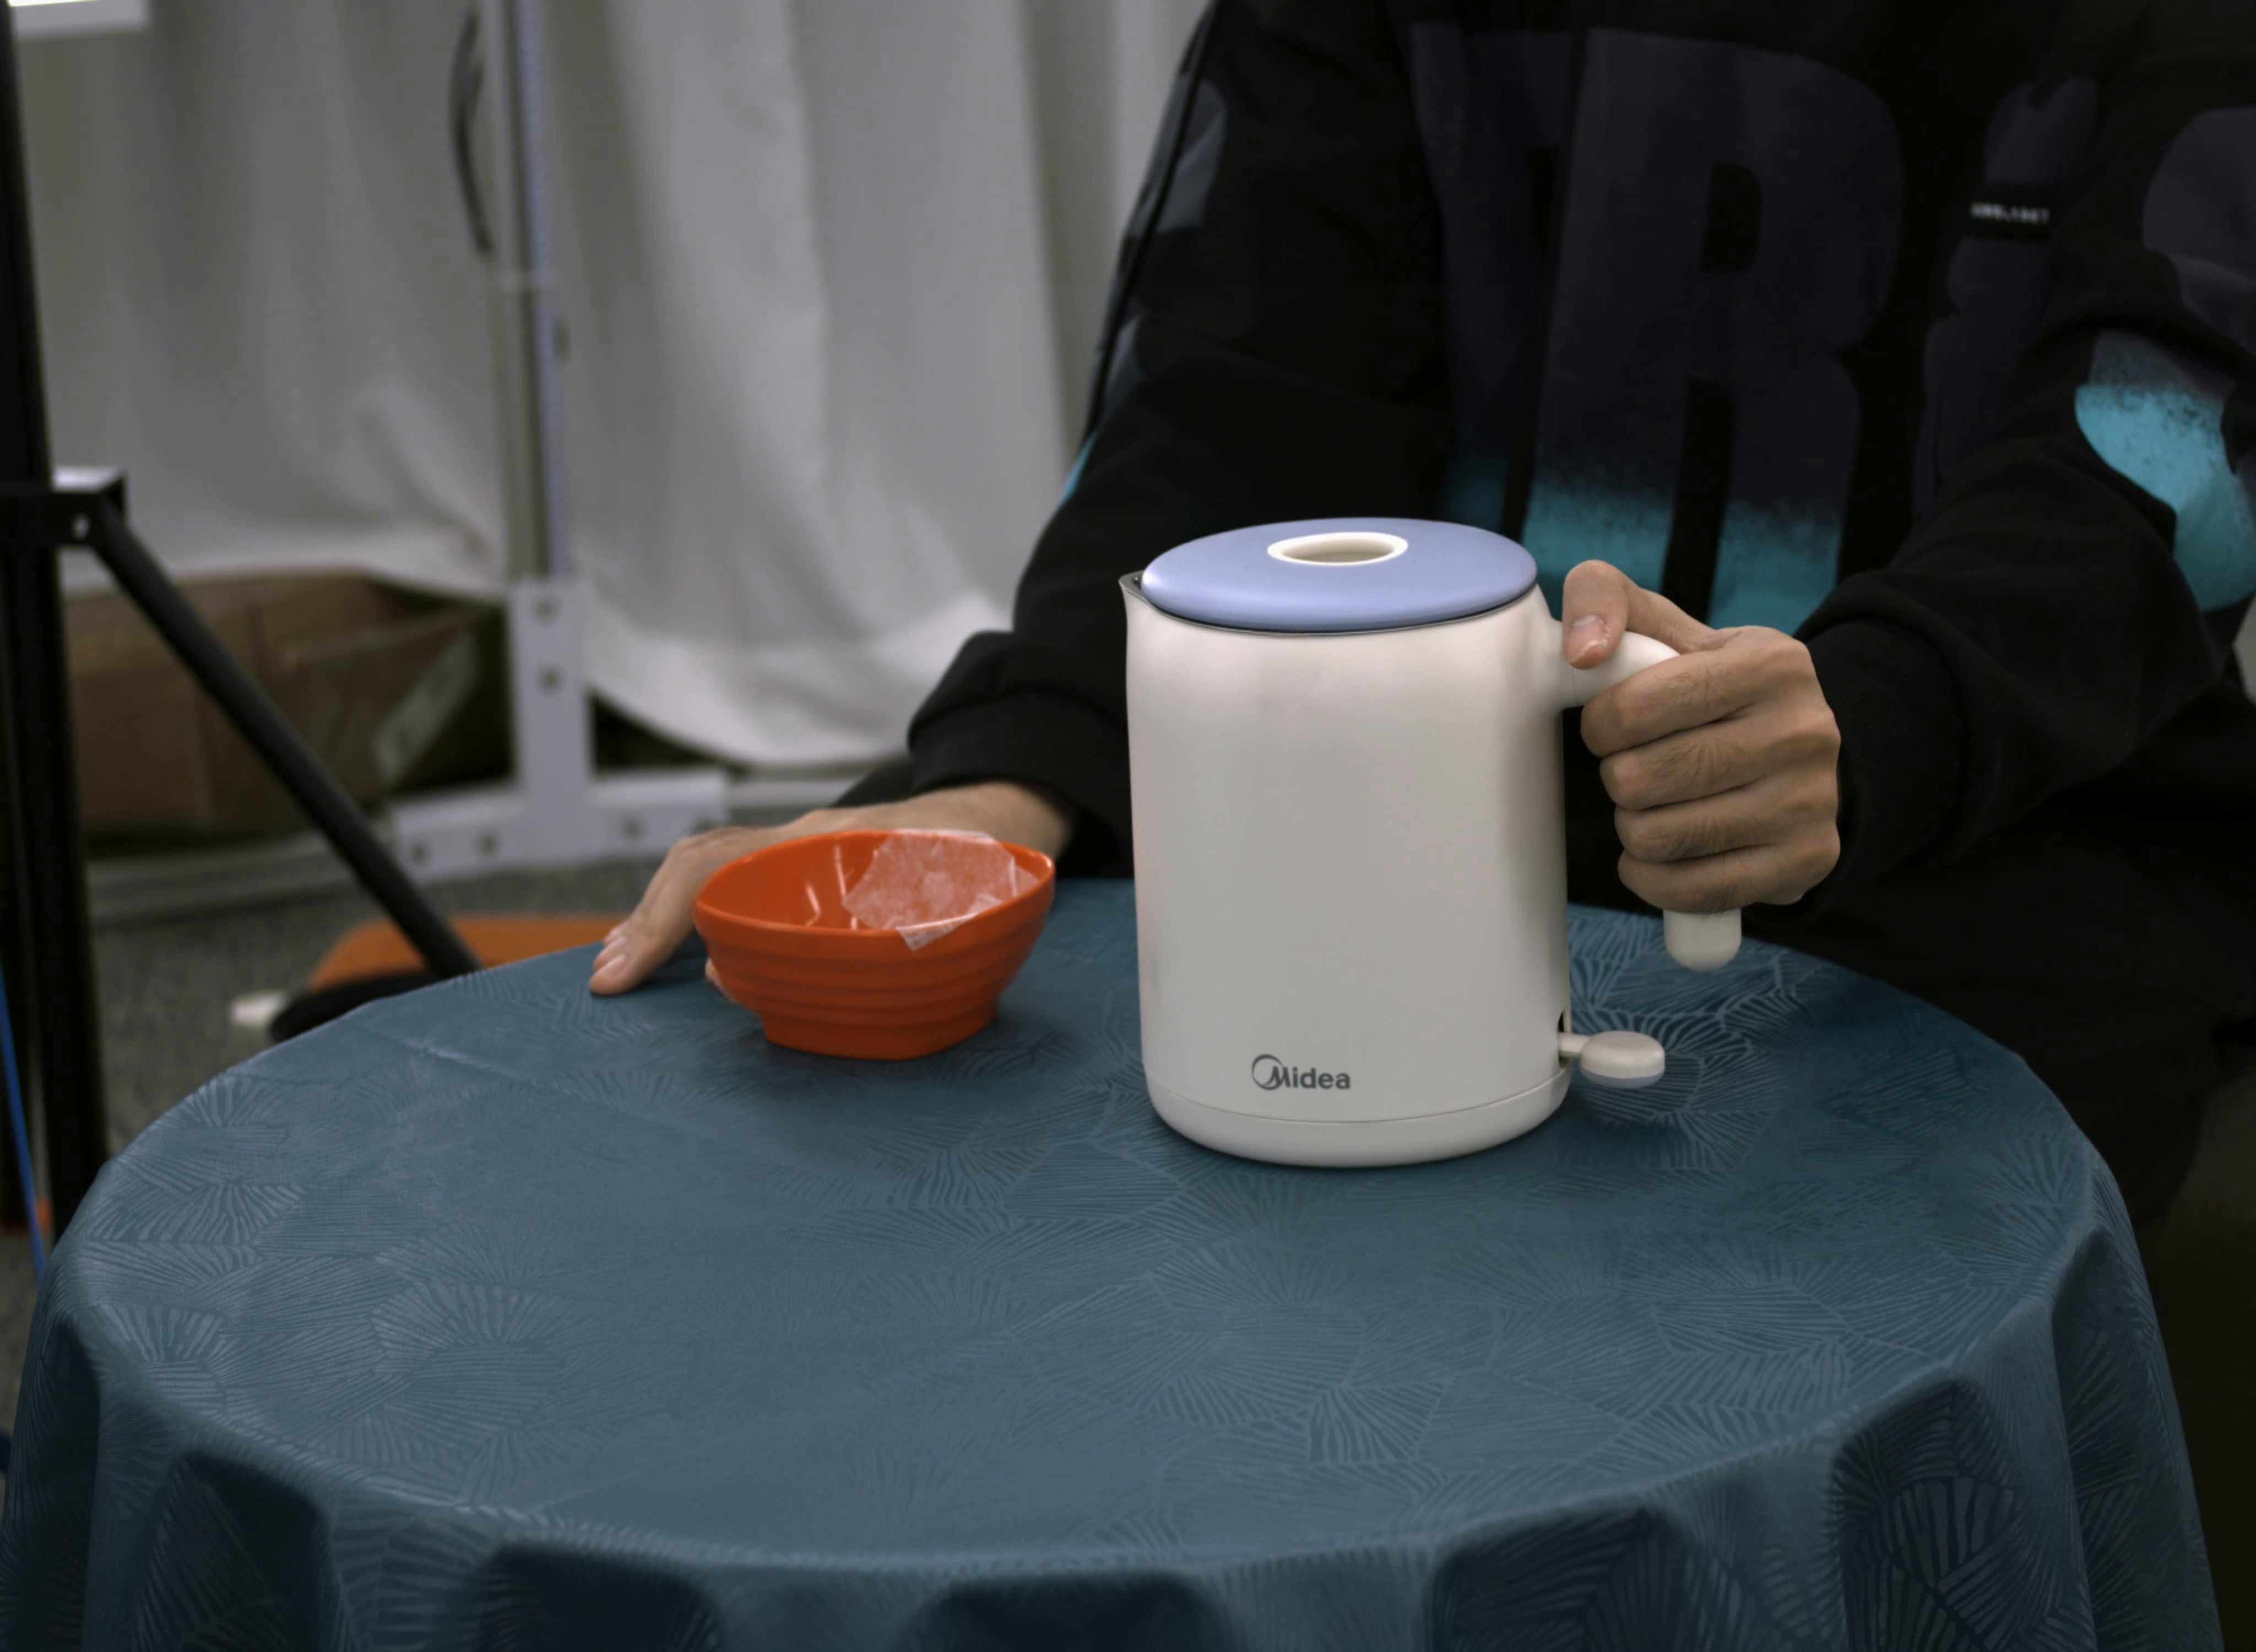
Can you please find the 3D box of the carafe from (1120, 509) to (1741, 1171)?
[{"bbox_3d":[0.090,0.005,1.594,0.193,0.182,0.131,4,18,16],"label":"carafe"}]

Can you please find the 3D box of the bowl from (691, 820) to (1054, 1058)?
[{"bbox_3d":[-0.080,0.039,1.716,0.118,0.051,0.119,-6,17,0],"label":"bowl"}]
